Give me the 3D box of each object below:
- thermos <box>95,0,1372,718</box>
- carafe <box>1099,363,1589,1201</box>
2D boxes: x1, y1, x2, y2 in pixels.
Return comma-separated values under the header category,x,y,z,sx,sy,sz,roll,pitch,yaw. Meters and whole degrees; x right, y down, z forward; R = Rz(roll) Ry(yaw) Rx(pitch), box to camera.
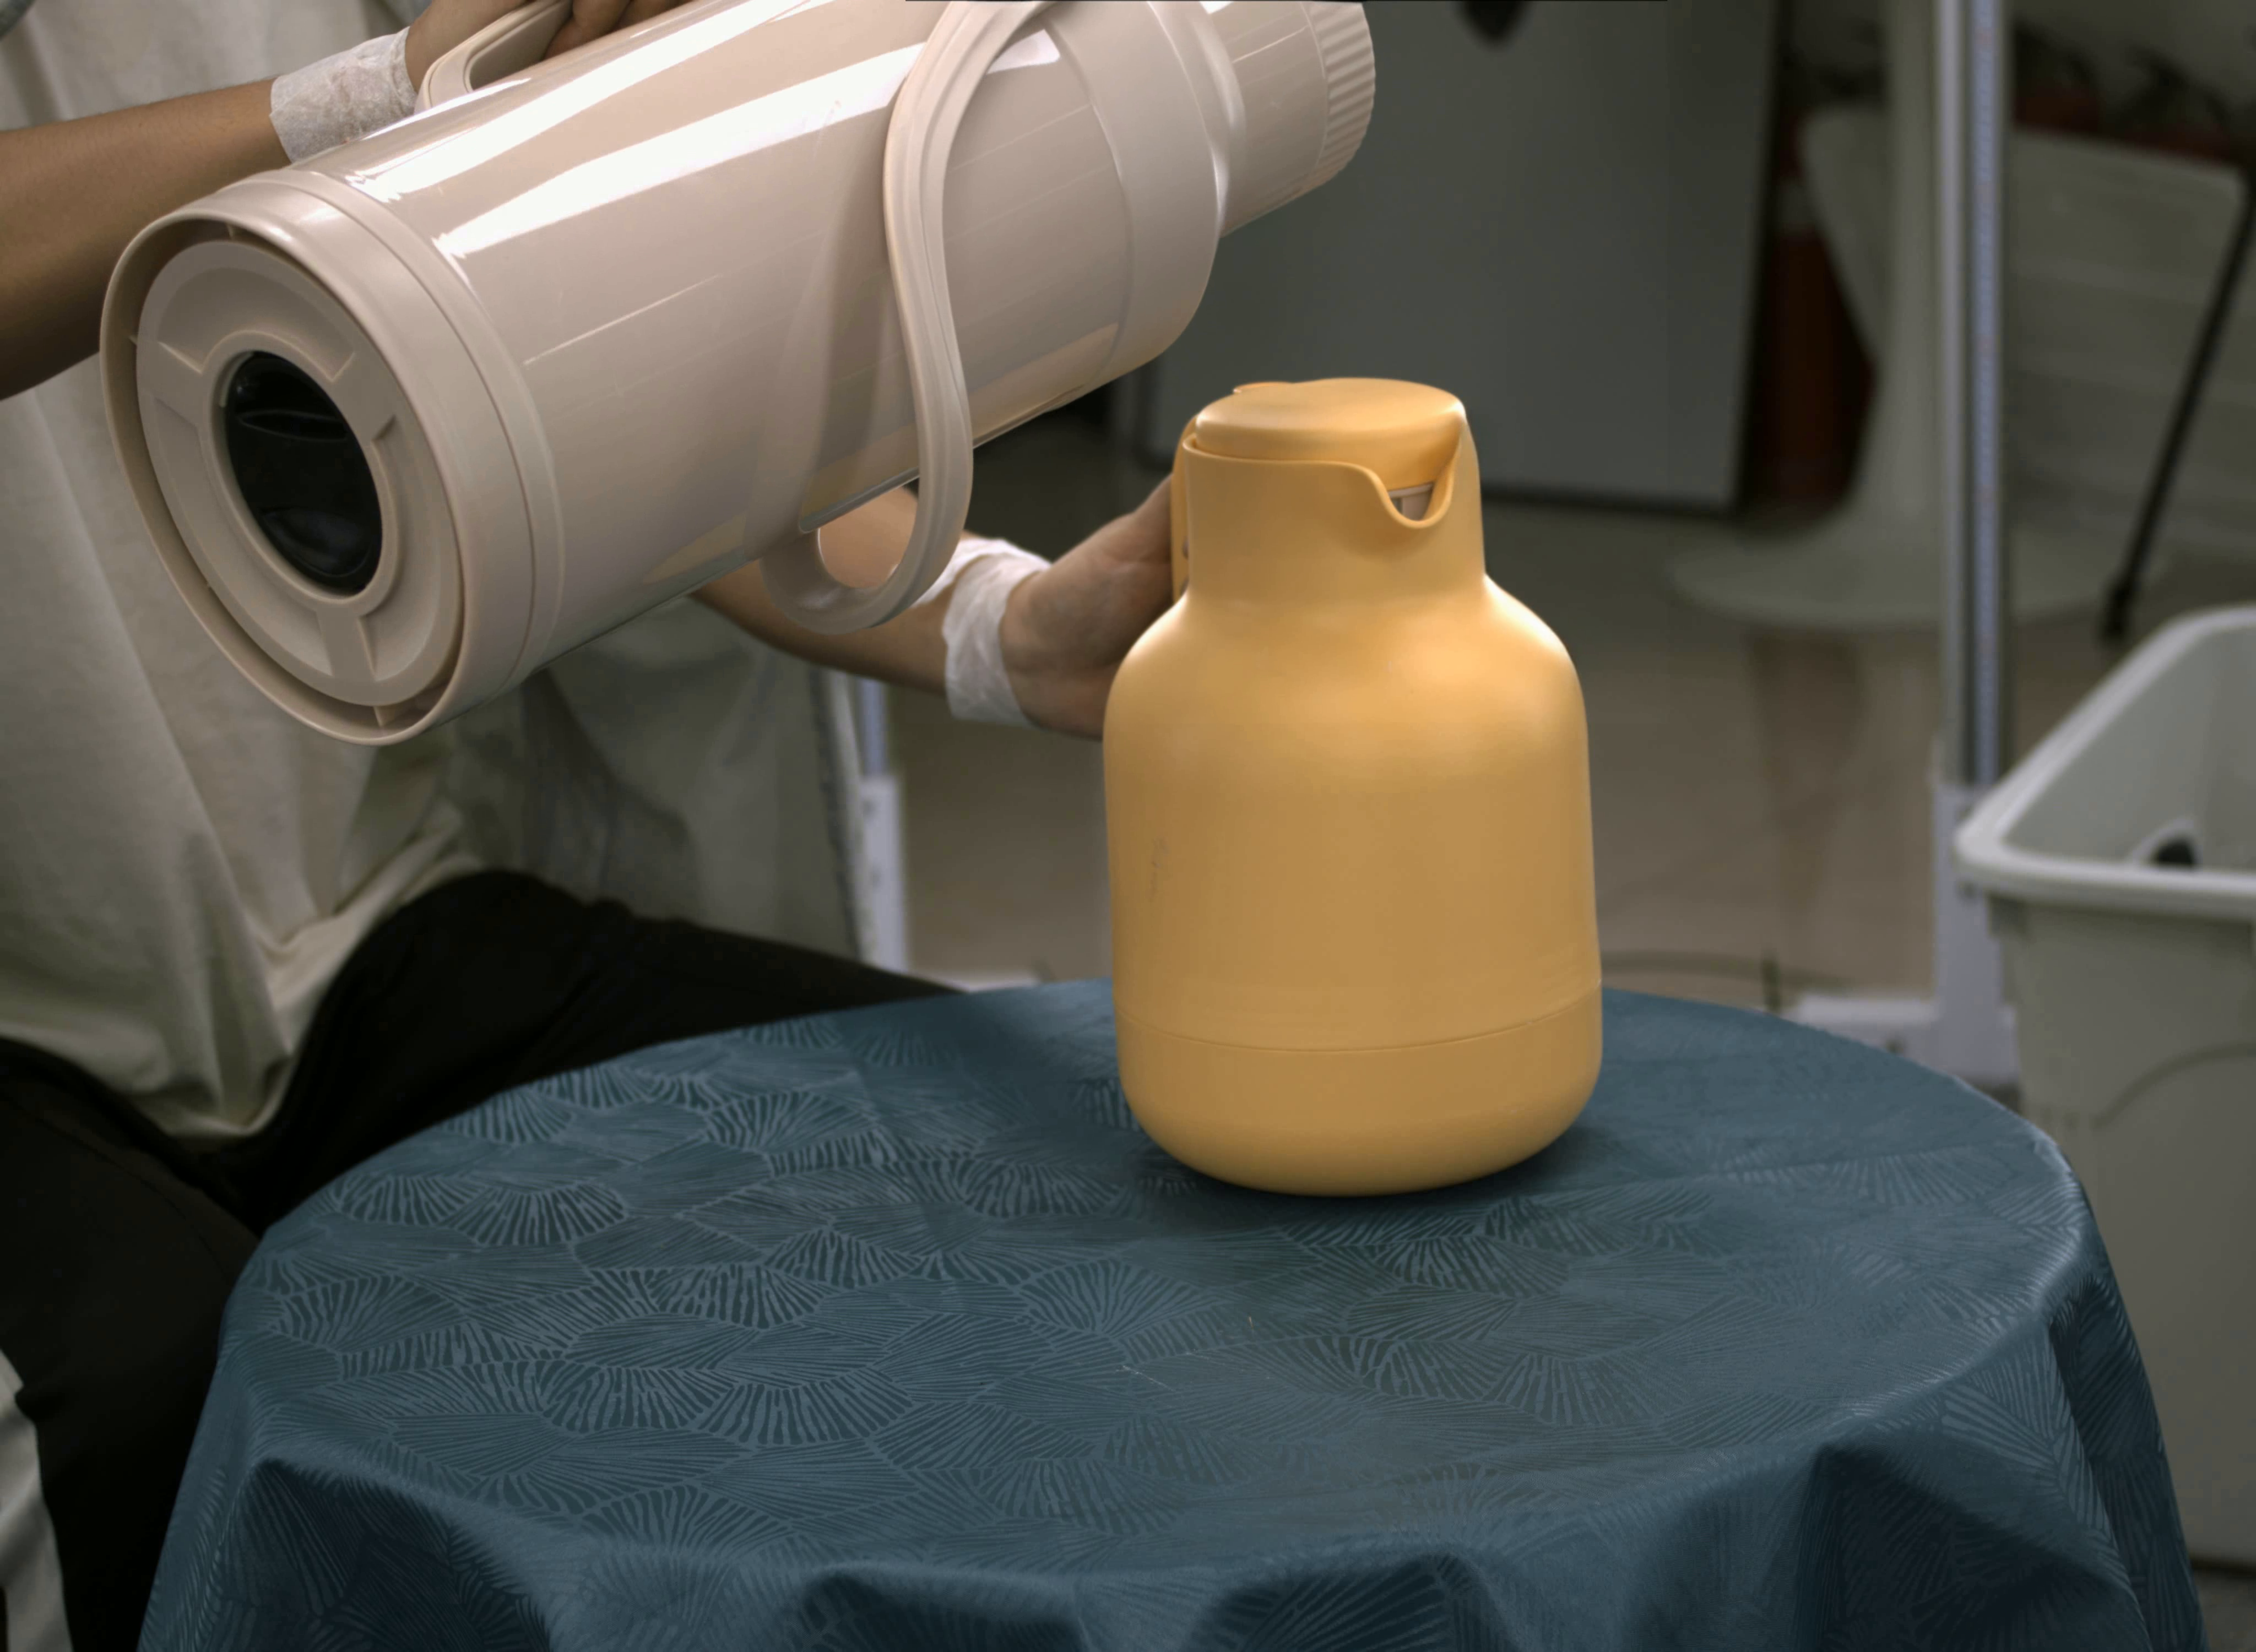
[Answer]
category,x,y,z,sx,sy,sz,roll,pitch,yaw
thermos,-0.107,-0.187,1.595,0.399,0.177,0.209,-29,63,-36
carafe,0.065,-0.022,1.790,0.160,0.263,0.204,-5,14,-17
